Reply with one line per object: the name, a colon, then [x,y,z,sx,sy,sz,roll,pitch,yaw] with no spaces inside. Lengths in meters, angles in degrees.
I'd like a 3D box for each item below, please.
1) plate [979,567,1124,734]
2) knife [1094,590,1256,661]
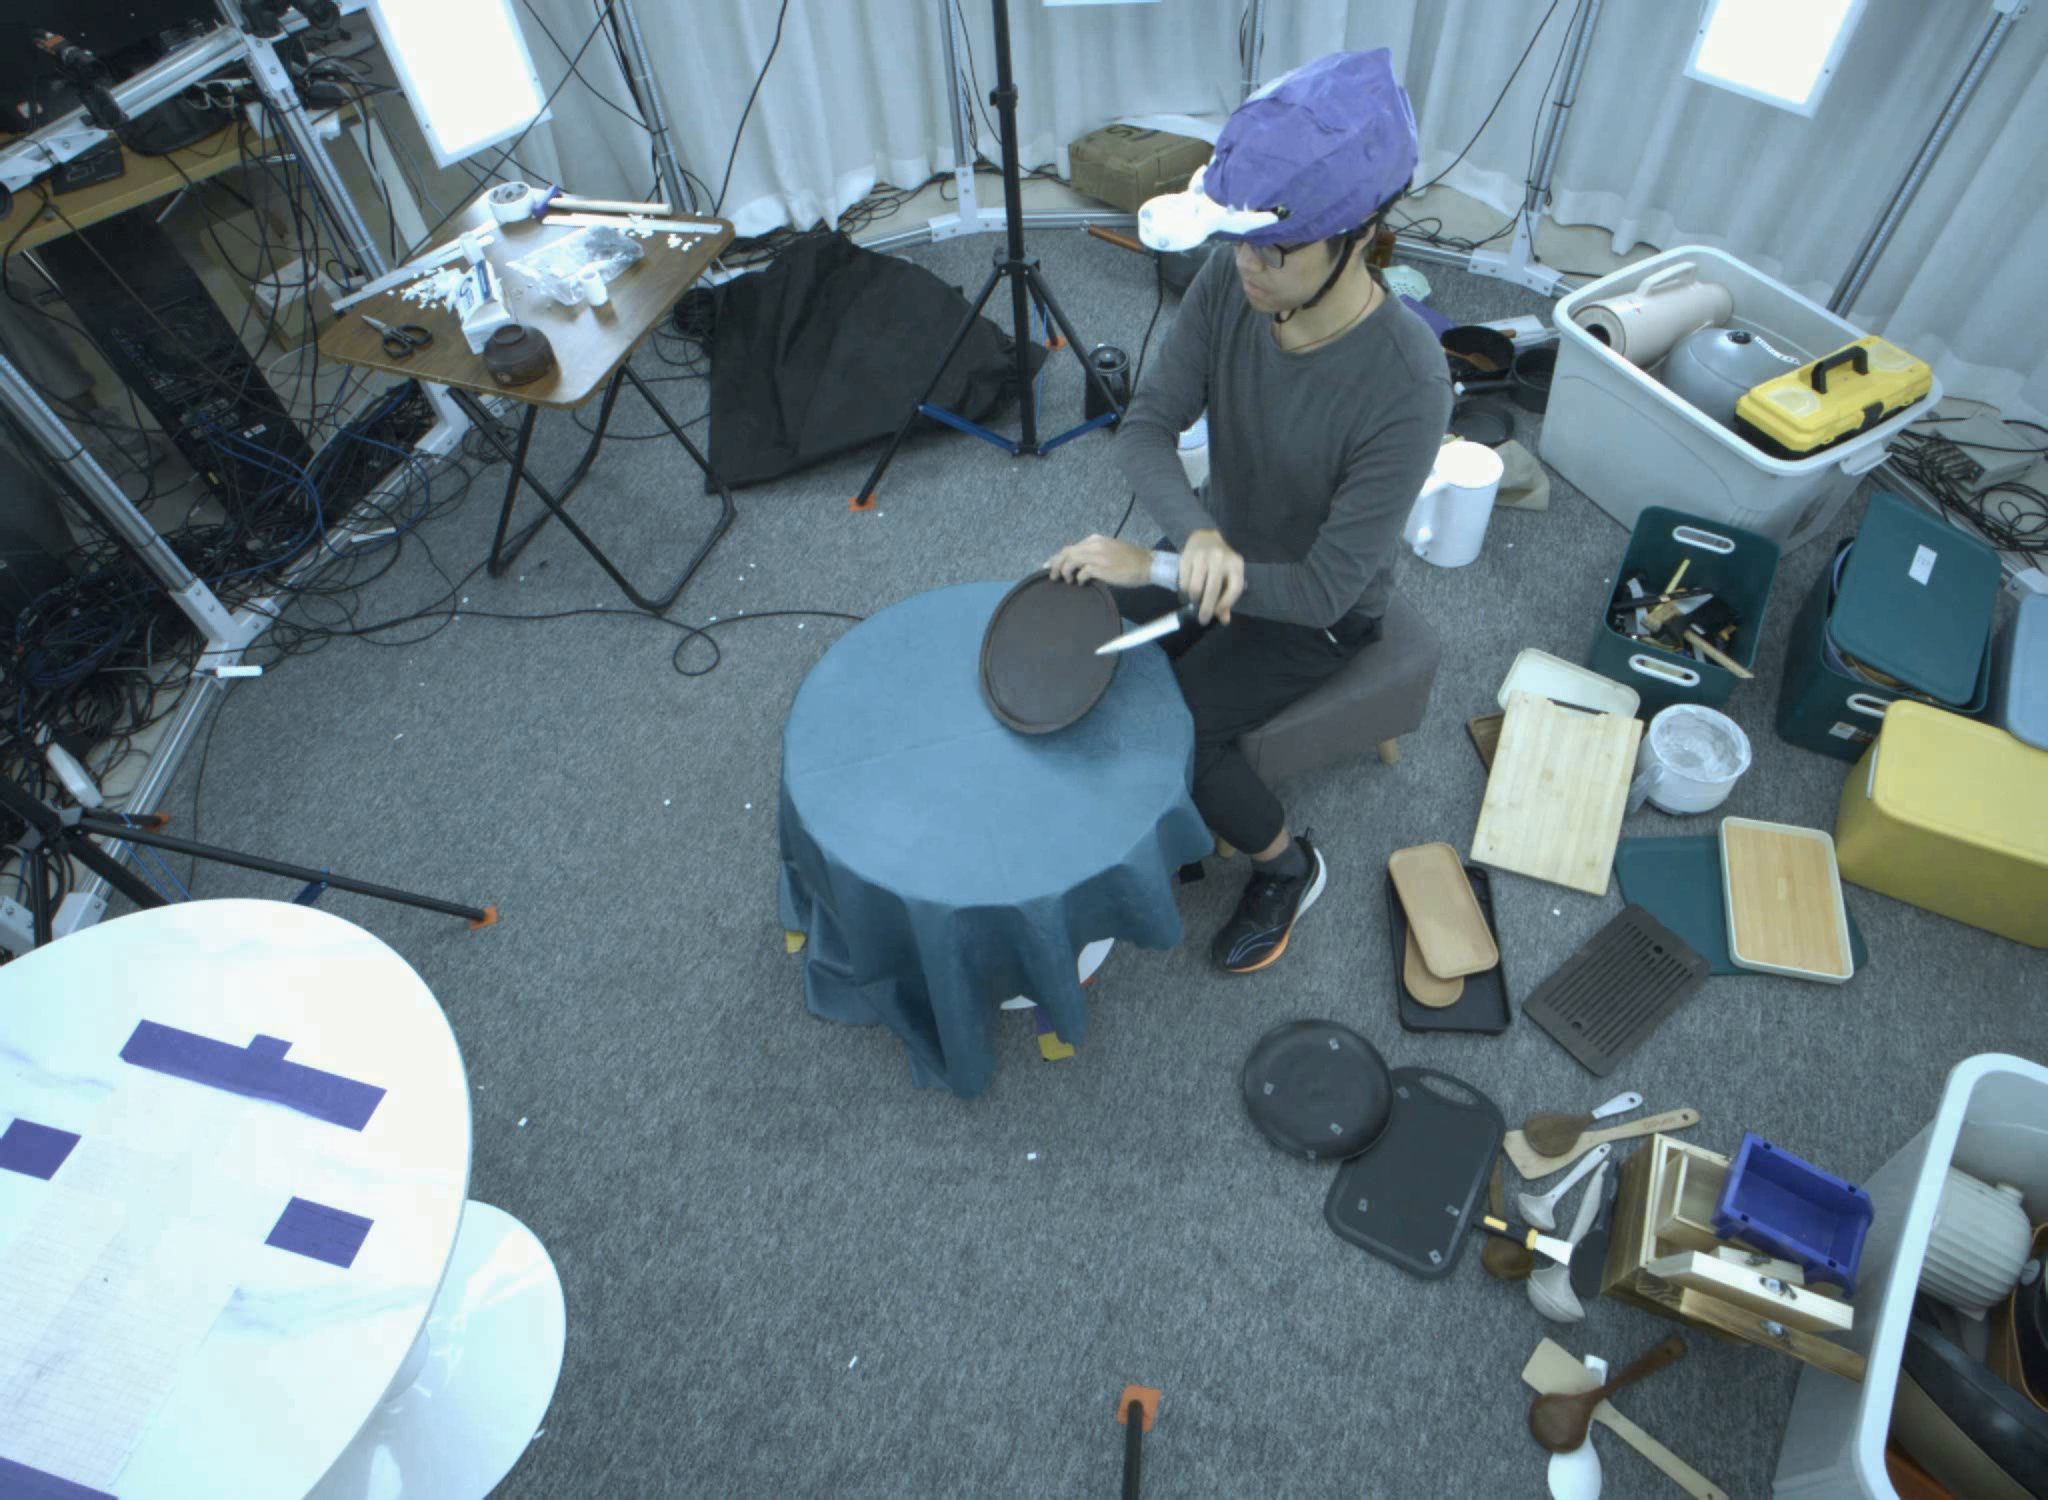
plate: [0.038,-0.146,1.800,0.250,0.029,0.253,-8,76,33]
knife: [0.198,-0.165,1.649,0.235,0.016,0.024,-21,64,22]
